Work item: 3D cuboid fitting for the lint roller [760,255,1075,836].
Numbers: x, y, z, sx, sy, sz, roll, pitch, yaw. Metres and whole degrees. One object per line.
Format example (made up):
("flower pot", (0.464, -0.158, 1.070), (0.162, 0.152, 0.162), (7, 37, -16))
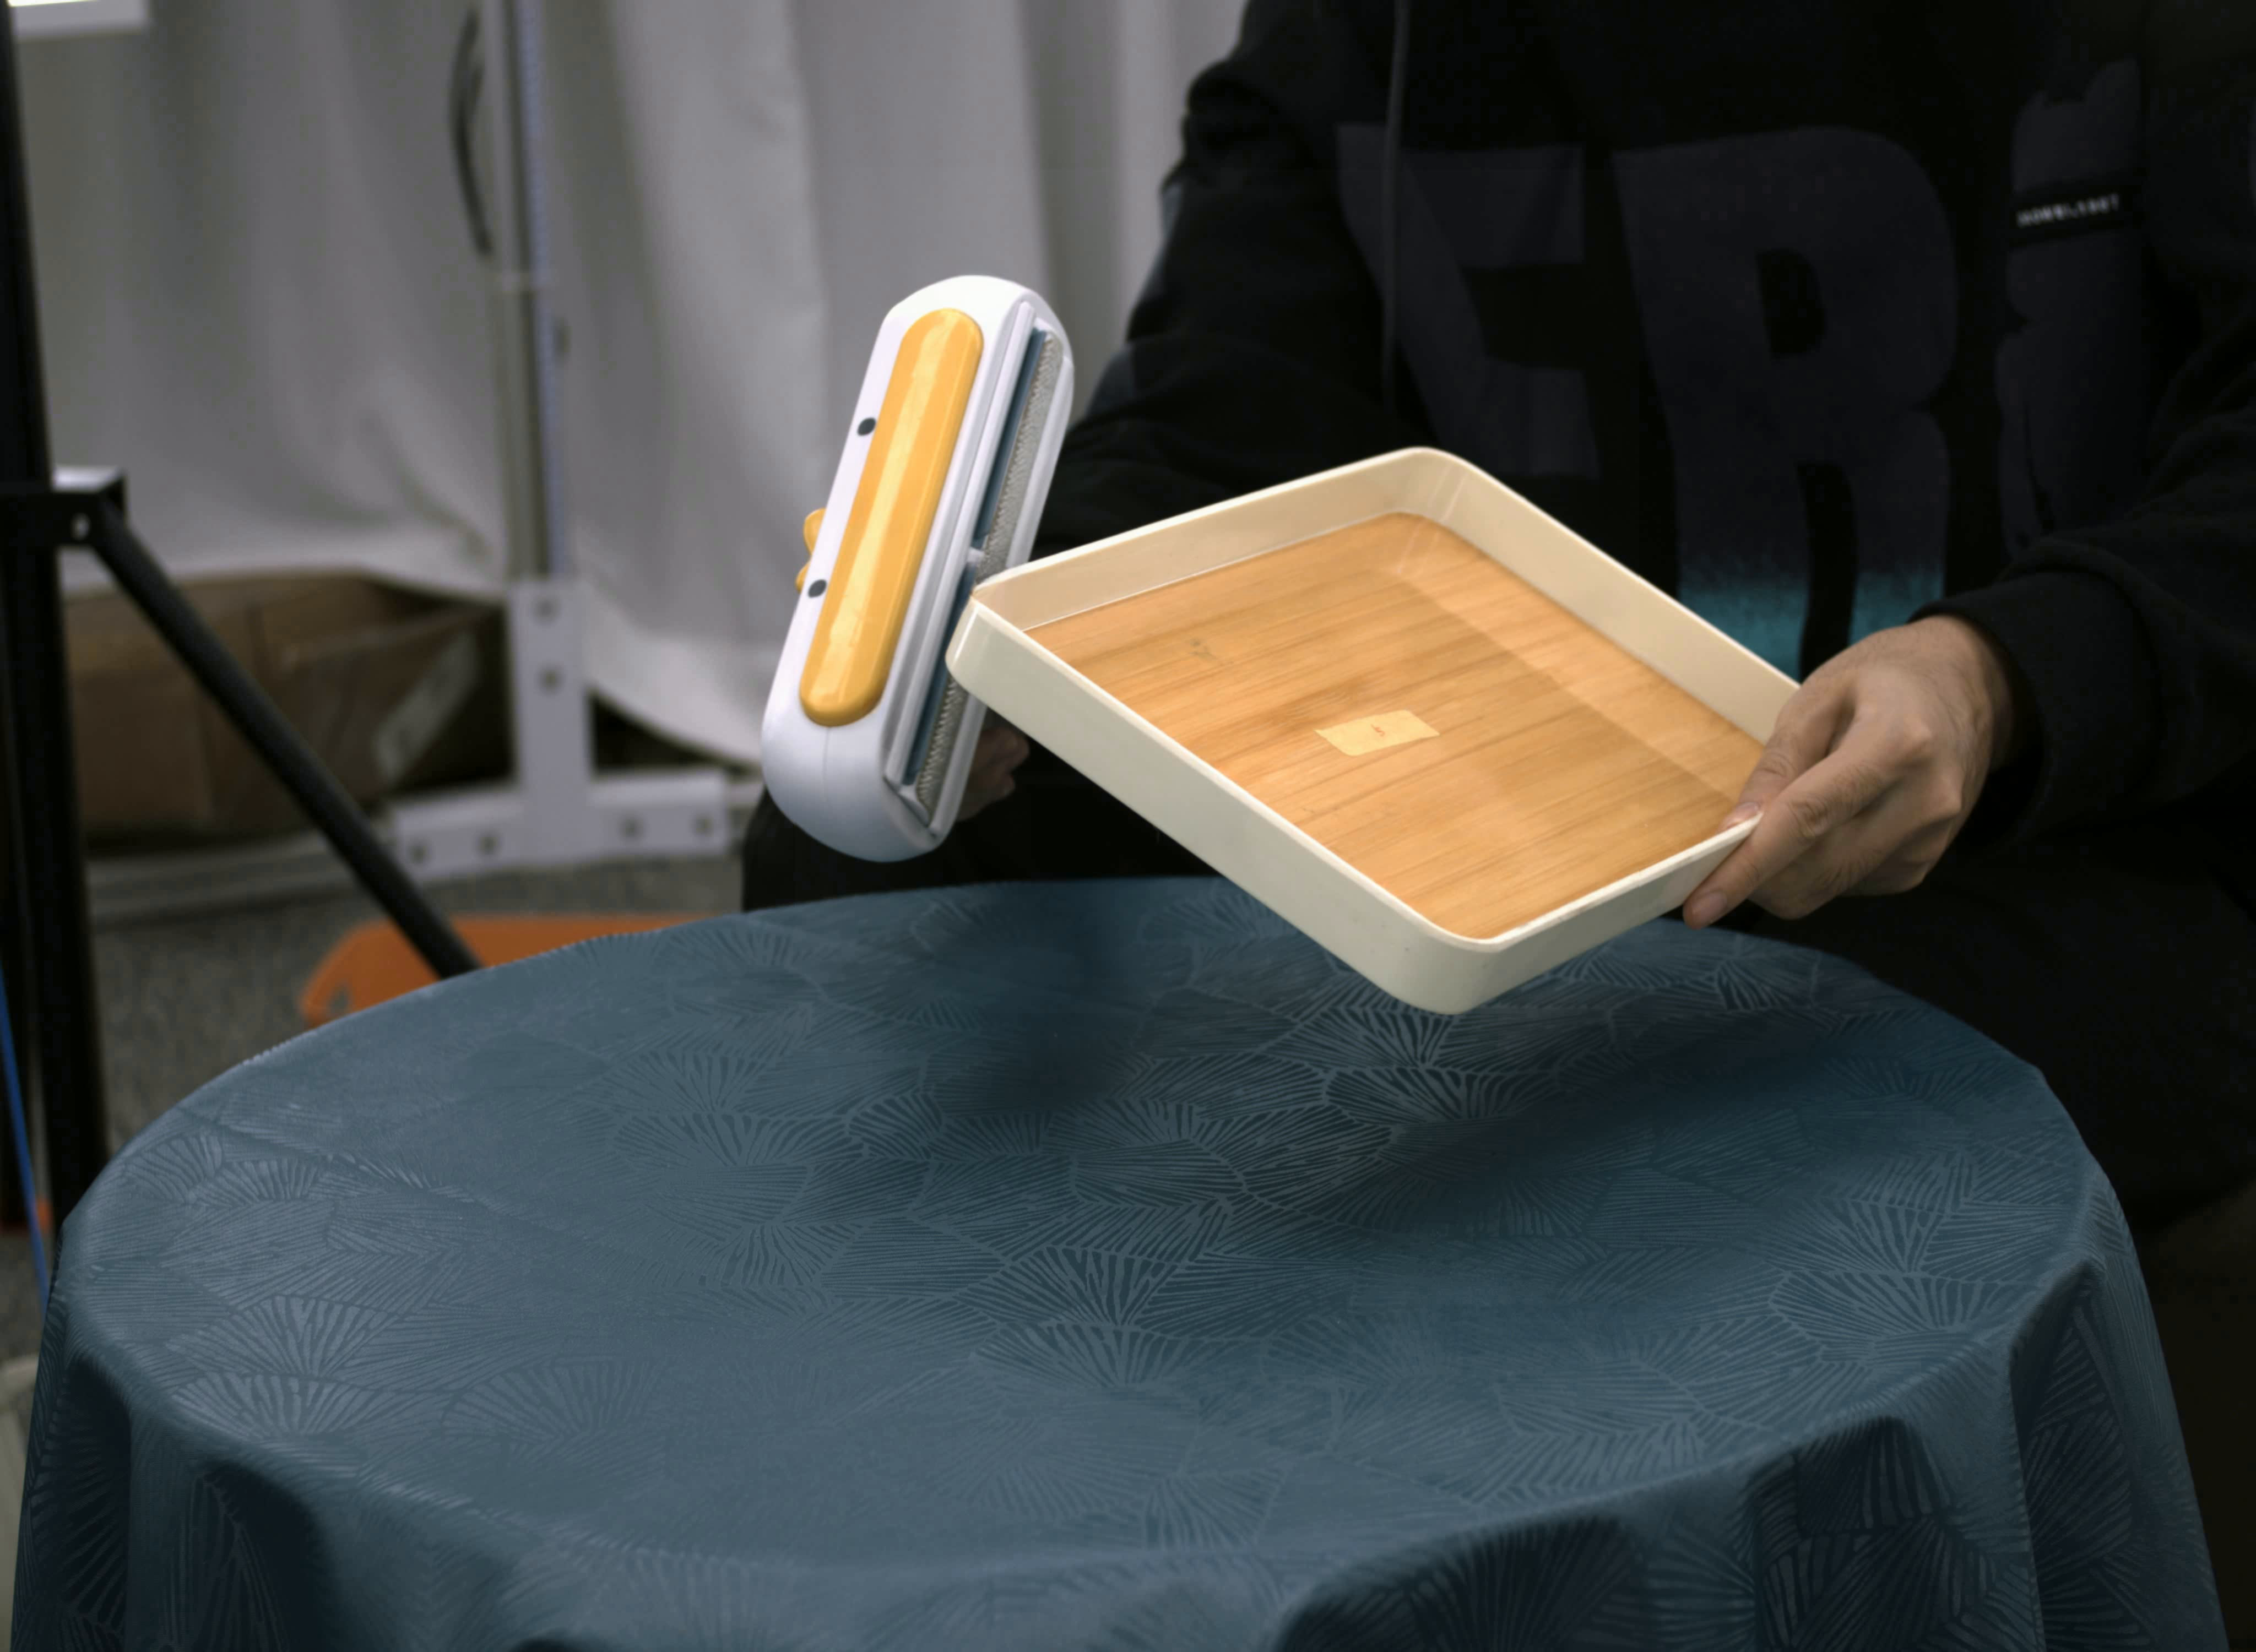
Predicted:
("lint roller", (-0.059, -0.060, 1.714), (0.075, 0.189, 0.194), (4, 61, 16))

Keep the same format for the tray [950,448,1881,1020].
("tray", (0.093, -0.034, 1.593), (0.194, 0.027, 0.294), (36, 28, 21))
